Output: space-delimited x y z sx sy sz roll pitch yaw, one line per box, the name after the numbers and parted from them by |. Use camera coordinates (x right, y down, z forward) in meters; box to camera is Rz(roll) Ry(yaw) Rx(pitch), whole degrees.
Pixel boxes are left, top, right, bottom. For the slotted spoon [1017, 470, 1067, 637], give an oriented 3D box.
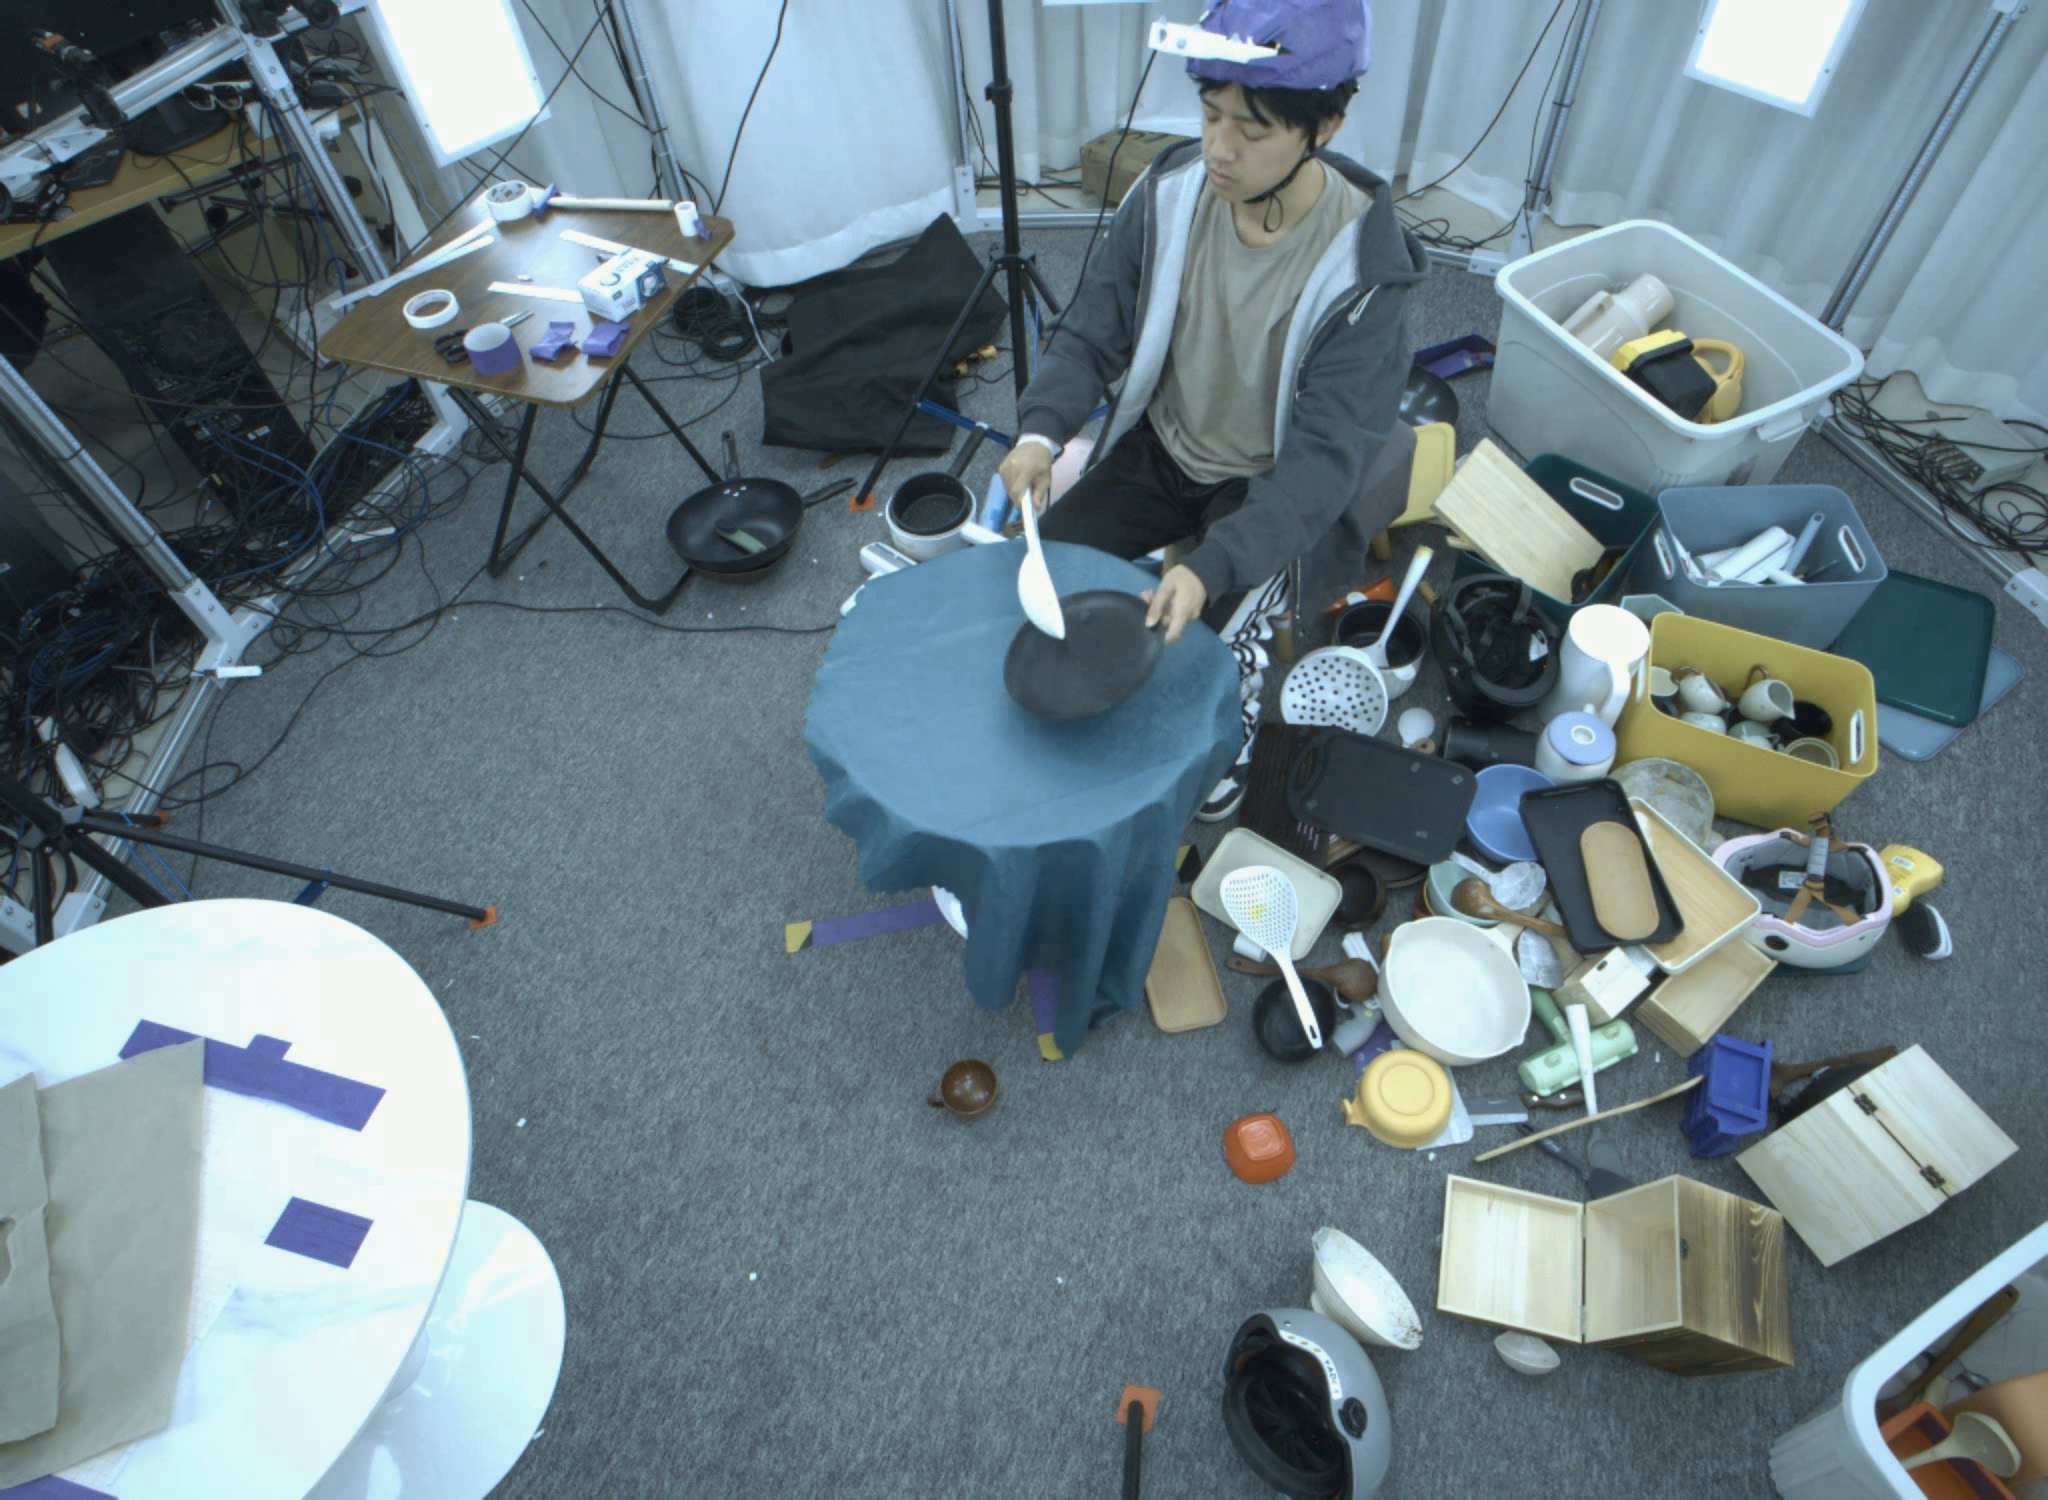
0.016 -0.308 1.849 0.045 0.139 0.345 -16 51 16 | slotted spoon

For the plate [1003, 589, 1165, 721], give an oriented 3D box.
0.087 -0.137 1.787 0.242 0.024 0.242 -10 53 14 | plate
